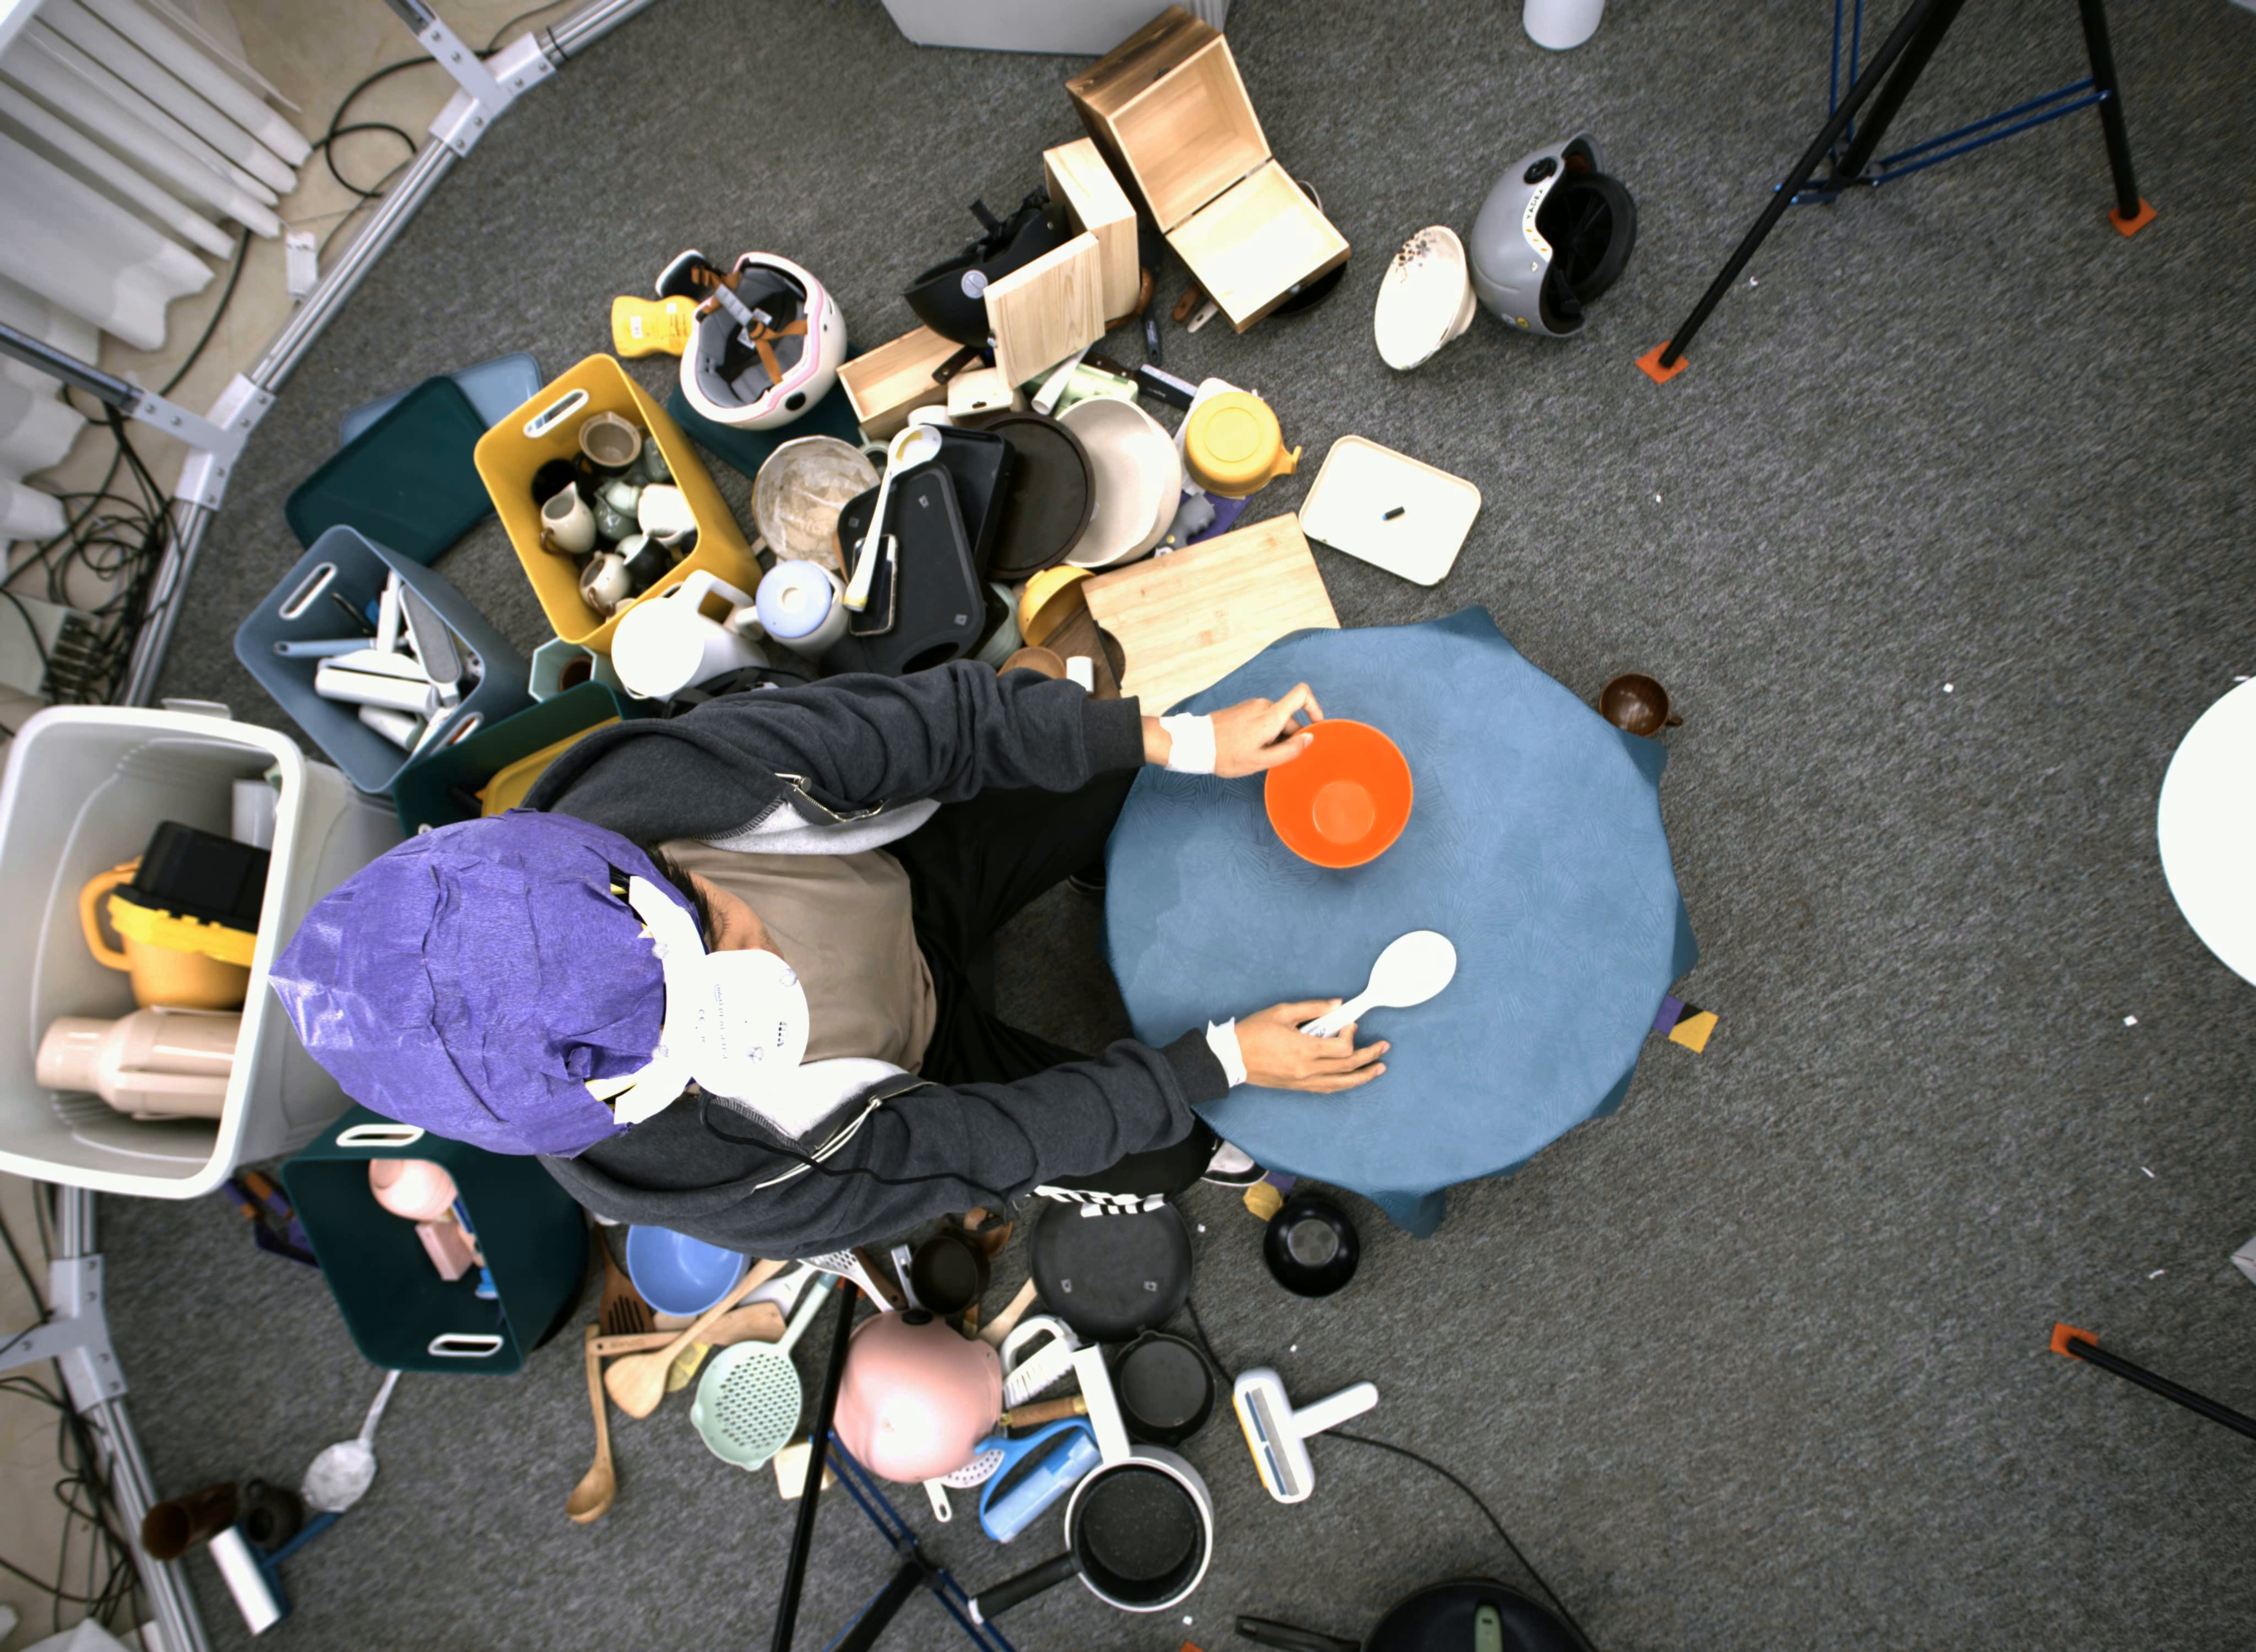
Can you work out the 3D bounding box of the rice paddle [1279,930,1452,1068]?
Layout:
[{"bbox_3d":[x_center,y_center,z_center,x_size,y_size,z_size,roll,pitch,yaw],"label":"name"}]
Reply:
[{"bbox_3d":[0.248,0.179,1.441,0.206,0.029,0.068,-36,73,6],"label":"rice paddle"}]

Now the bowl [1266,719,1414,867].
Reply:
[{"bbox_3d":[0.219,-0.031,1.424,0.148,0.104,0.147,-1,87,9],"label":"bowl"}]
